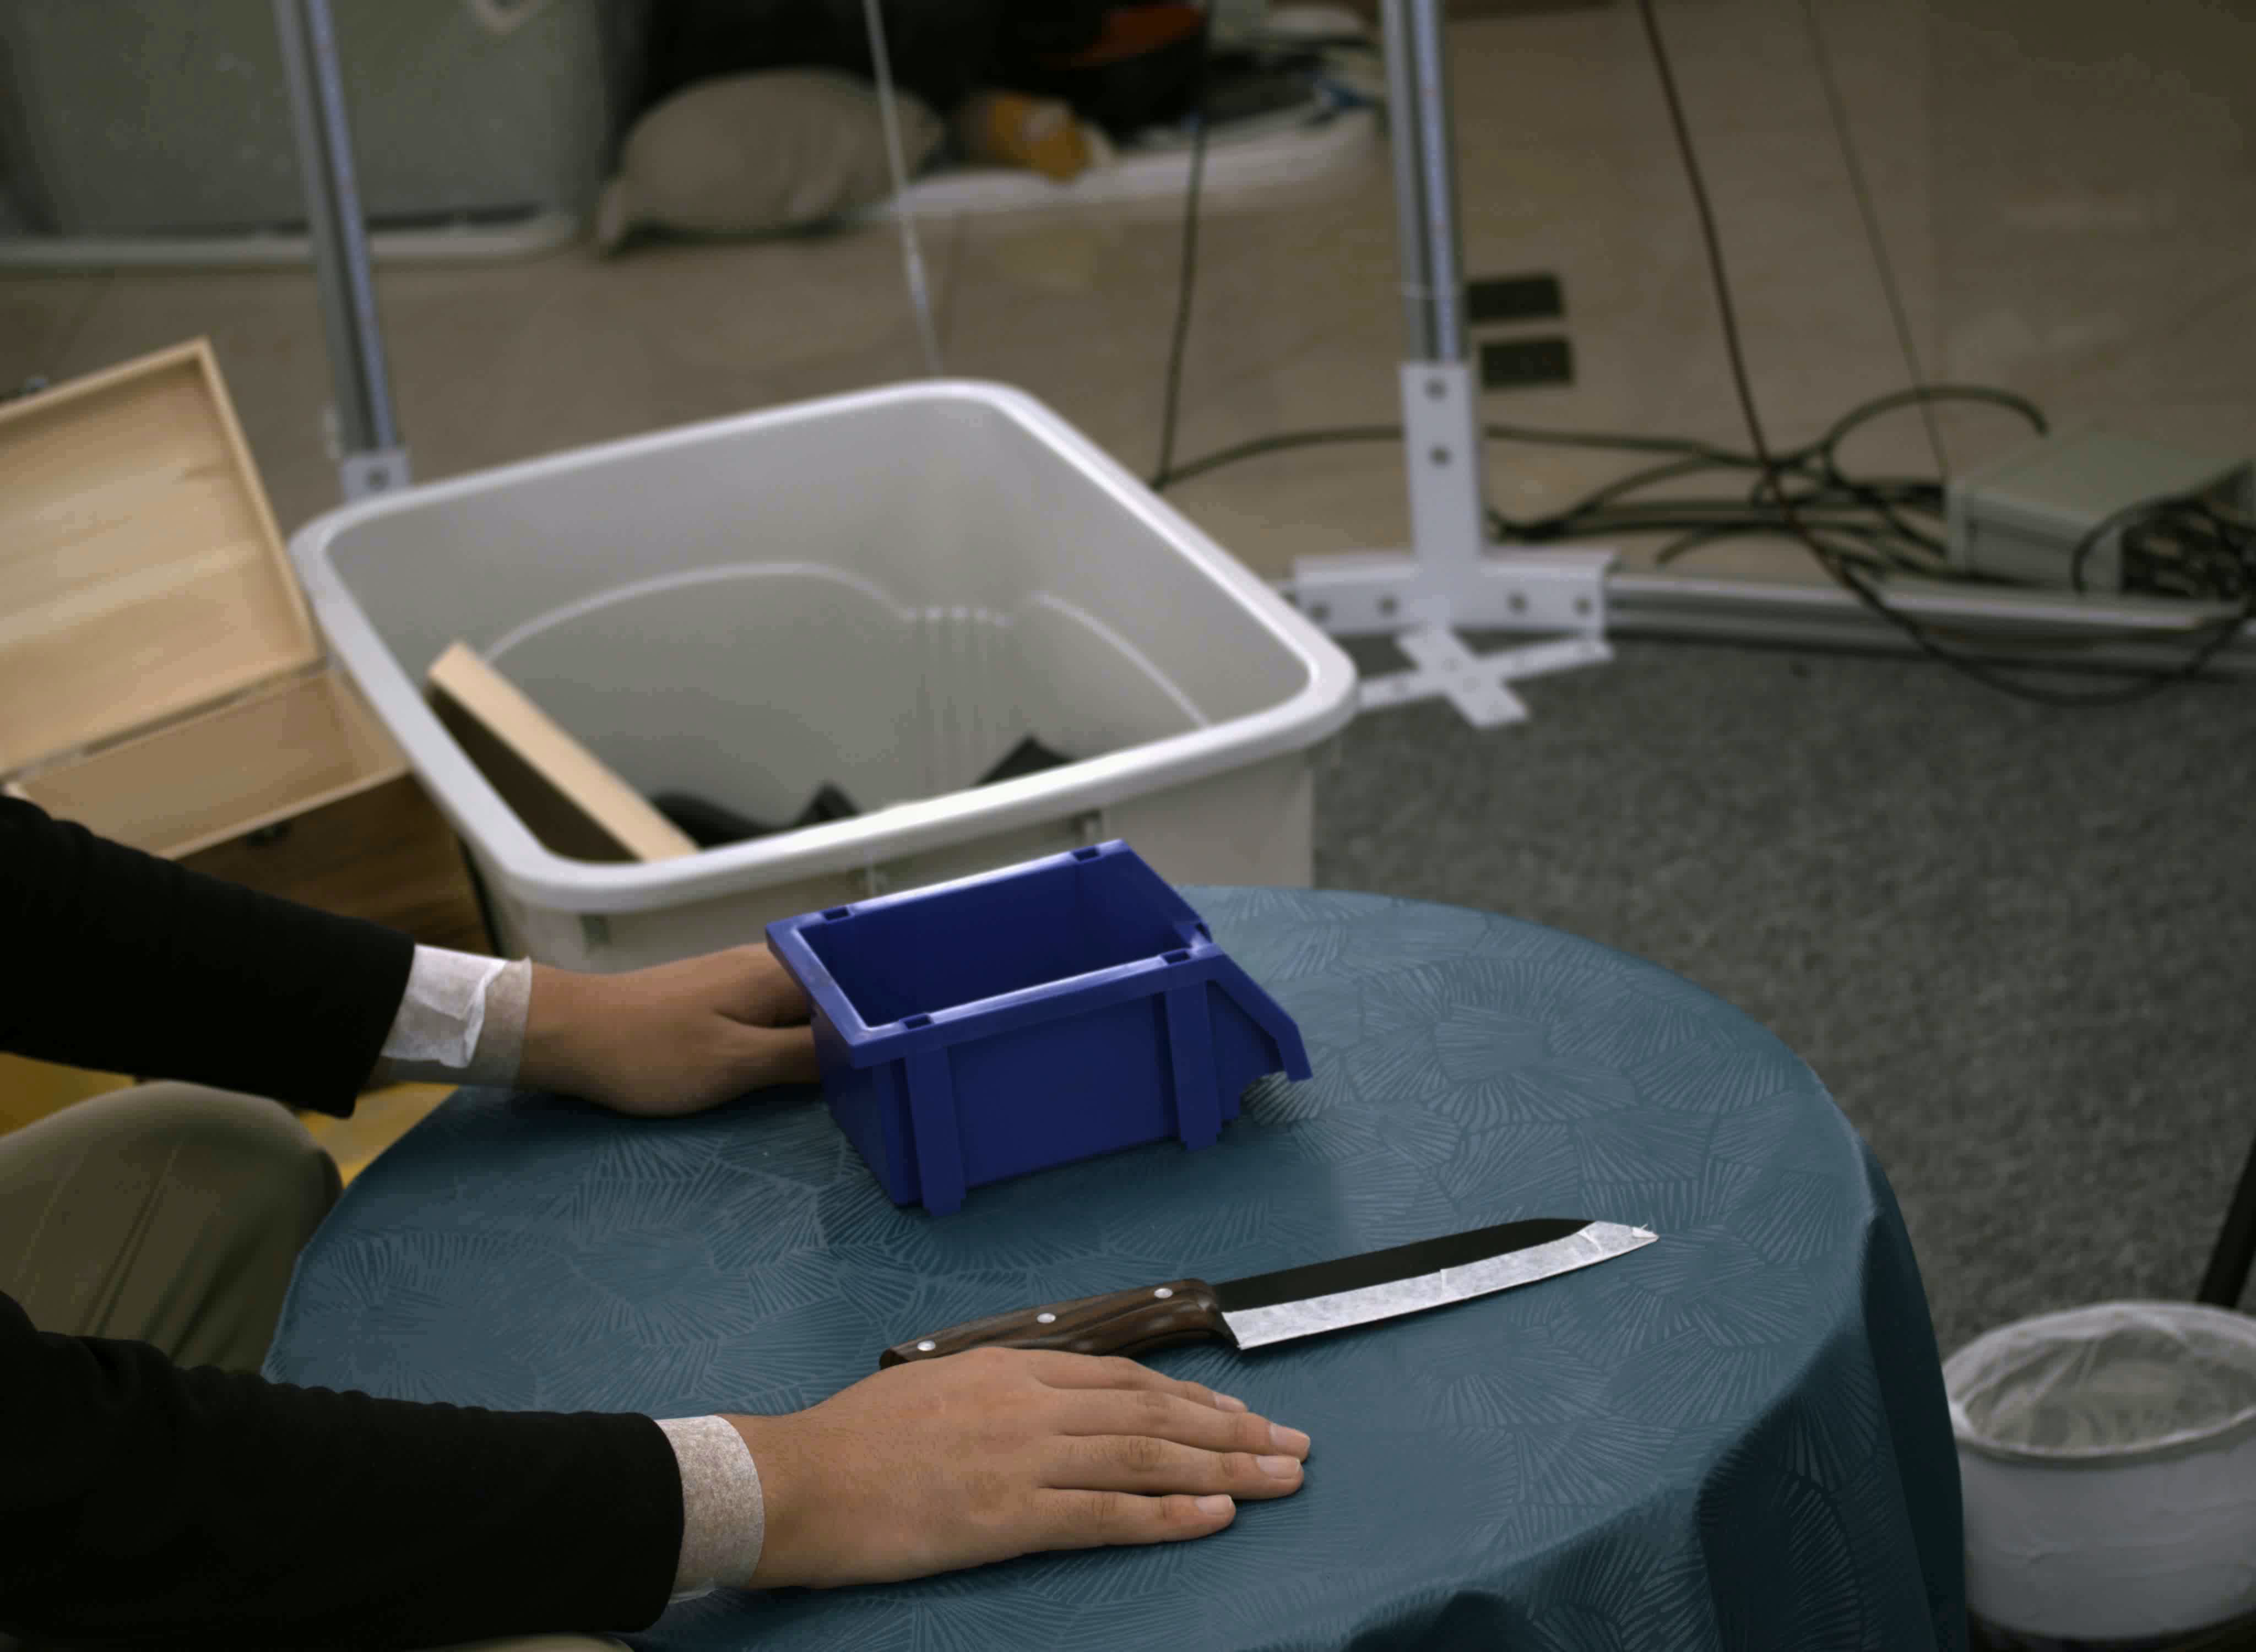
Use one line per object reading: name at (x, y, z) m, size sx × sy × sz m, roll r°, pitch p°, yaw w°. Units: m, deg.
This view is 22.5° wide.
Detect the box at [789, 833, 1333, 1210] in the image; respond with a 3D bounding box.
box at (-0.026, 0.072, 2.200) m, size 0.179 × 0.083 × 0.123 m, roll -15°, pitch 26°, yaw -12°

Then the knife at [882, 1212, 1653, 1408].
knife at (0.053, 0.172, 2.046) m, size 0.288 × 0.020 × 0.049 m, roll -10°, pitch 30°, yaw -13°
